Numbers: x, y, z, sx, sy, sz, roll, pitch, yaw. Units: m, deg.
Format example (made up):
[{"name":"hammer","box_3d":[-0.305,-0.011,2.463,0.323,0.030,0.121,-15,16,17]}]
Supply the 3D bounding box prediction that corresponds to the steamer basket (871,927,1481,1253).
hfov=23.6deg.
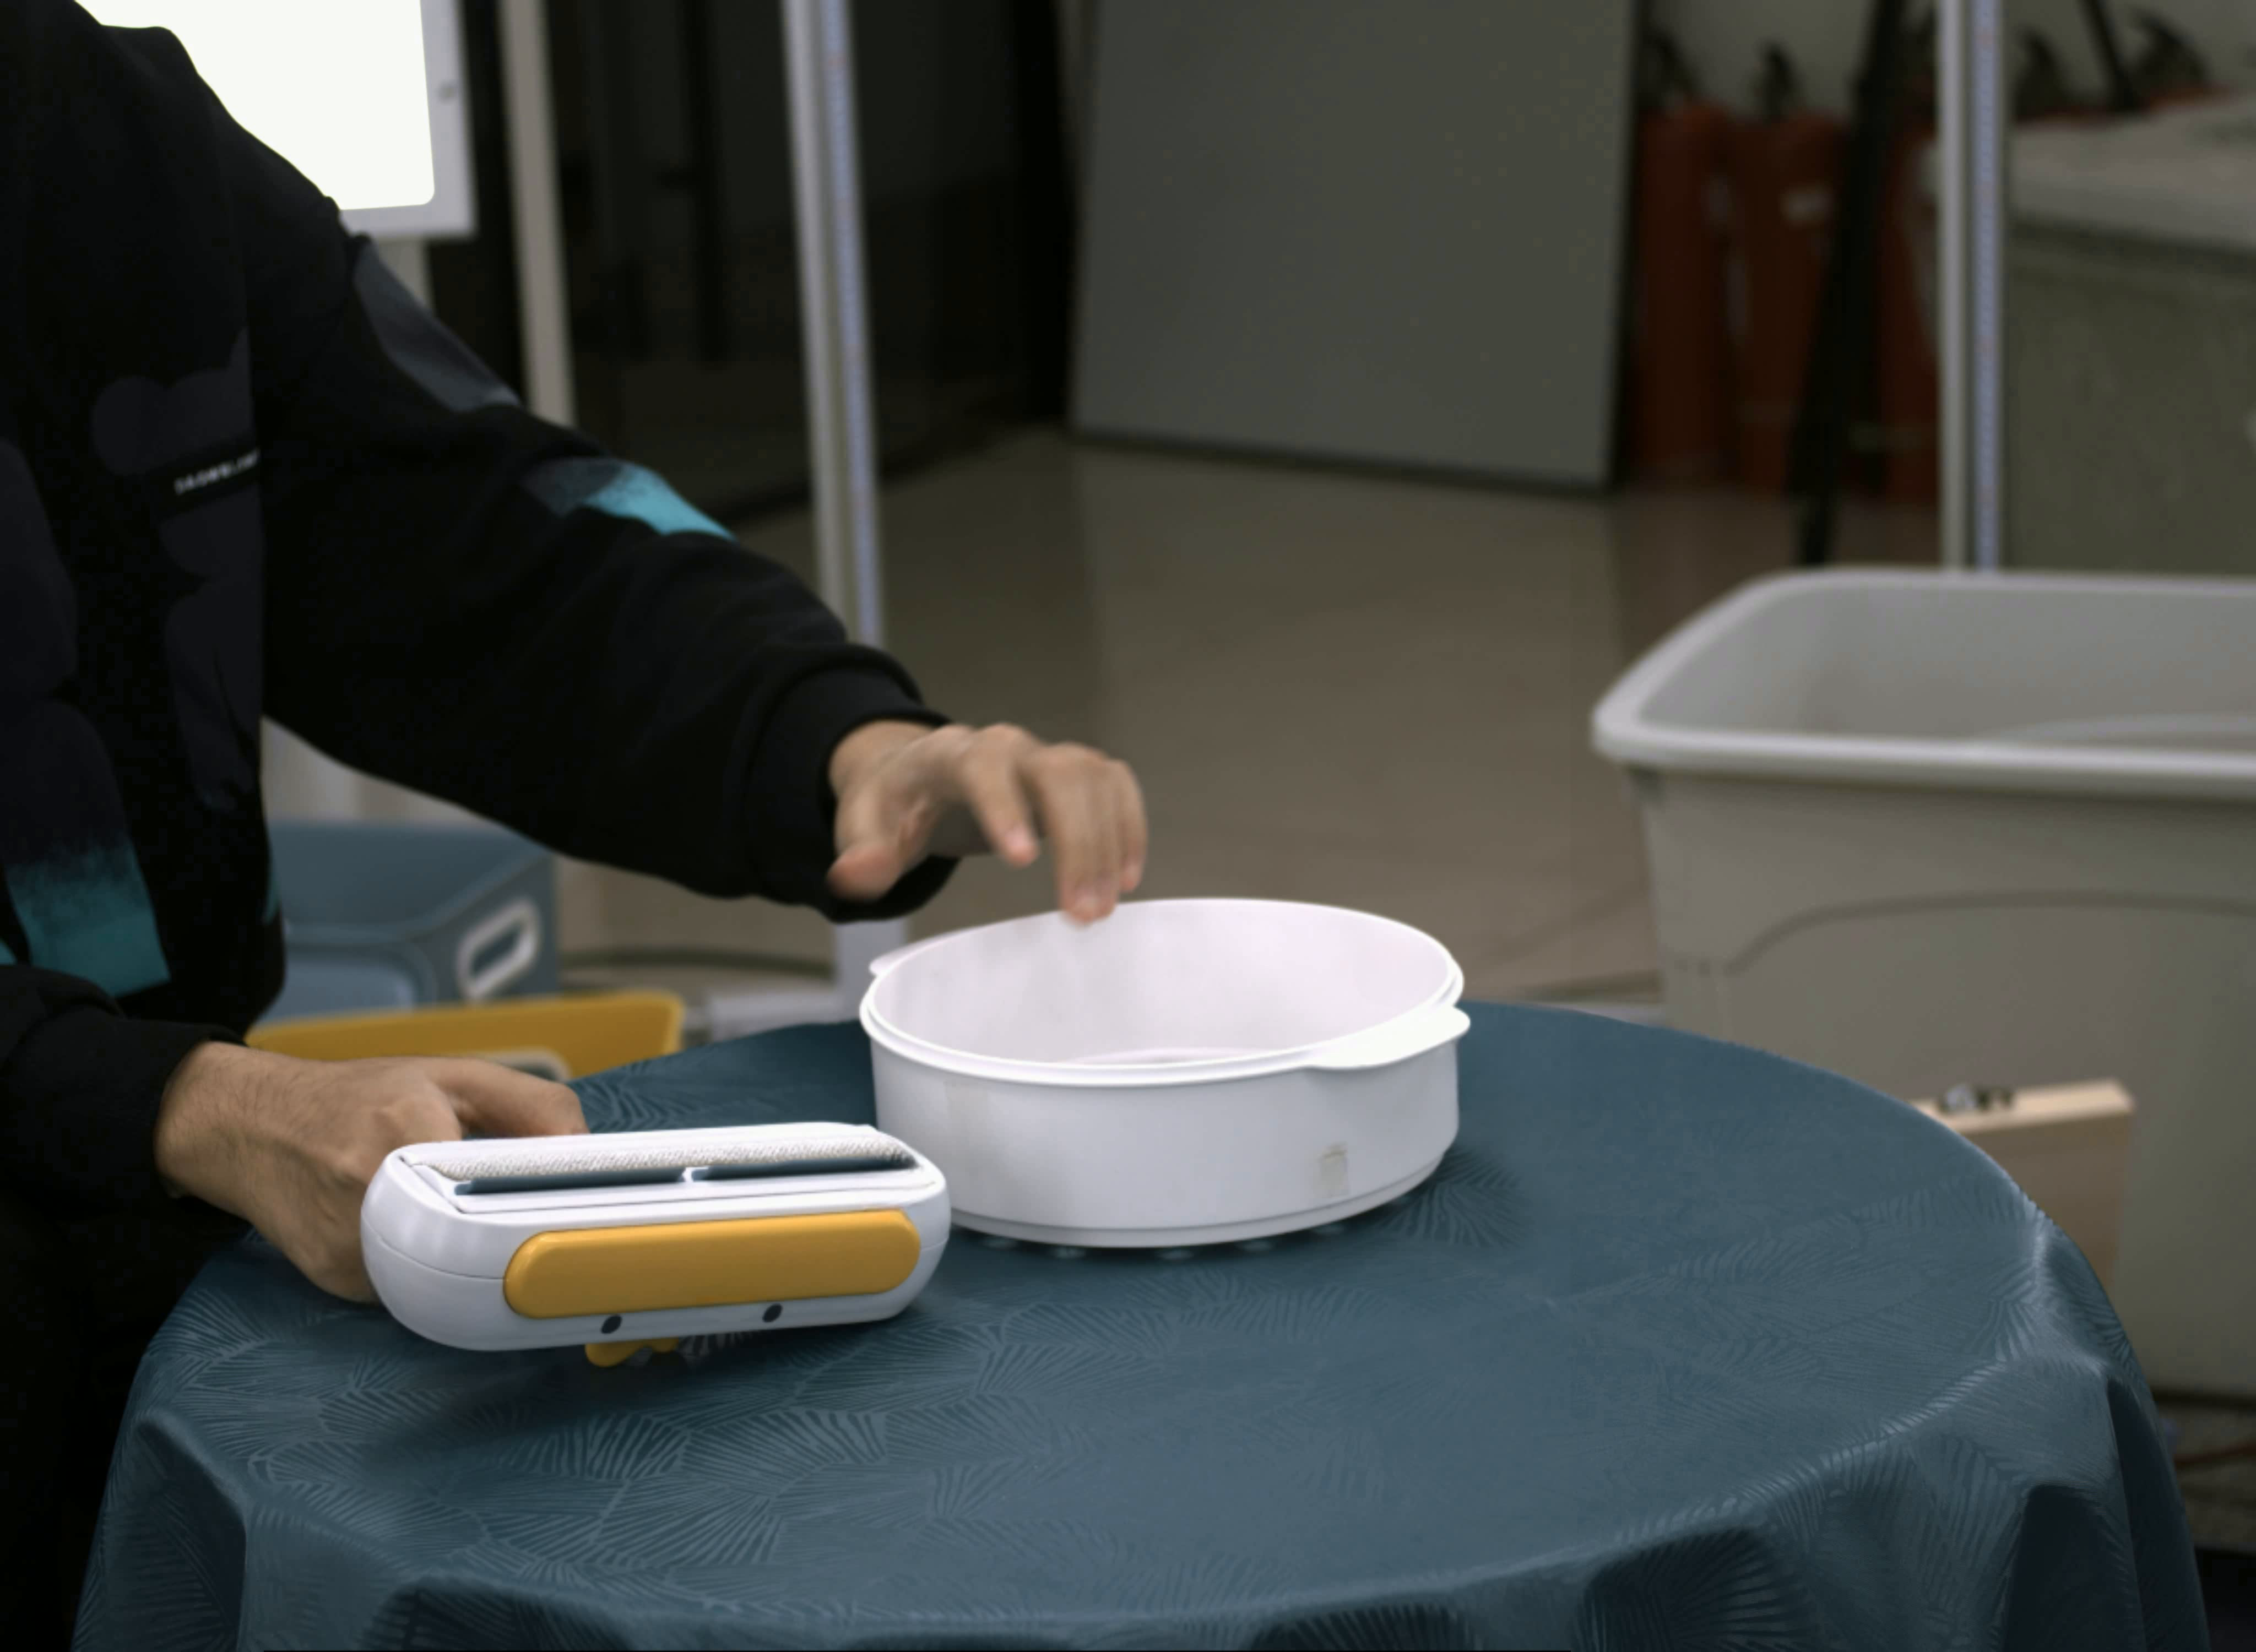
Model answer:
[{"name":"steamer basket","box_3d":[0.017,0.087,1.777,0.232,0.070,0.198,5,15,43]}]

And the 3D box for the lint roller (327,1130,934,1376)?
[{"name":"lint roller","box_3d":[-0.178,0.118,1.678,0.188,0.075,0.194,-5,15,-31]}]
